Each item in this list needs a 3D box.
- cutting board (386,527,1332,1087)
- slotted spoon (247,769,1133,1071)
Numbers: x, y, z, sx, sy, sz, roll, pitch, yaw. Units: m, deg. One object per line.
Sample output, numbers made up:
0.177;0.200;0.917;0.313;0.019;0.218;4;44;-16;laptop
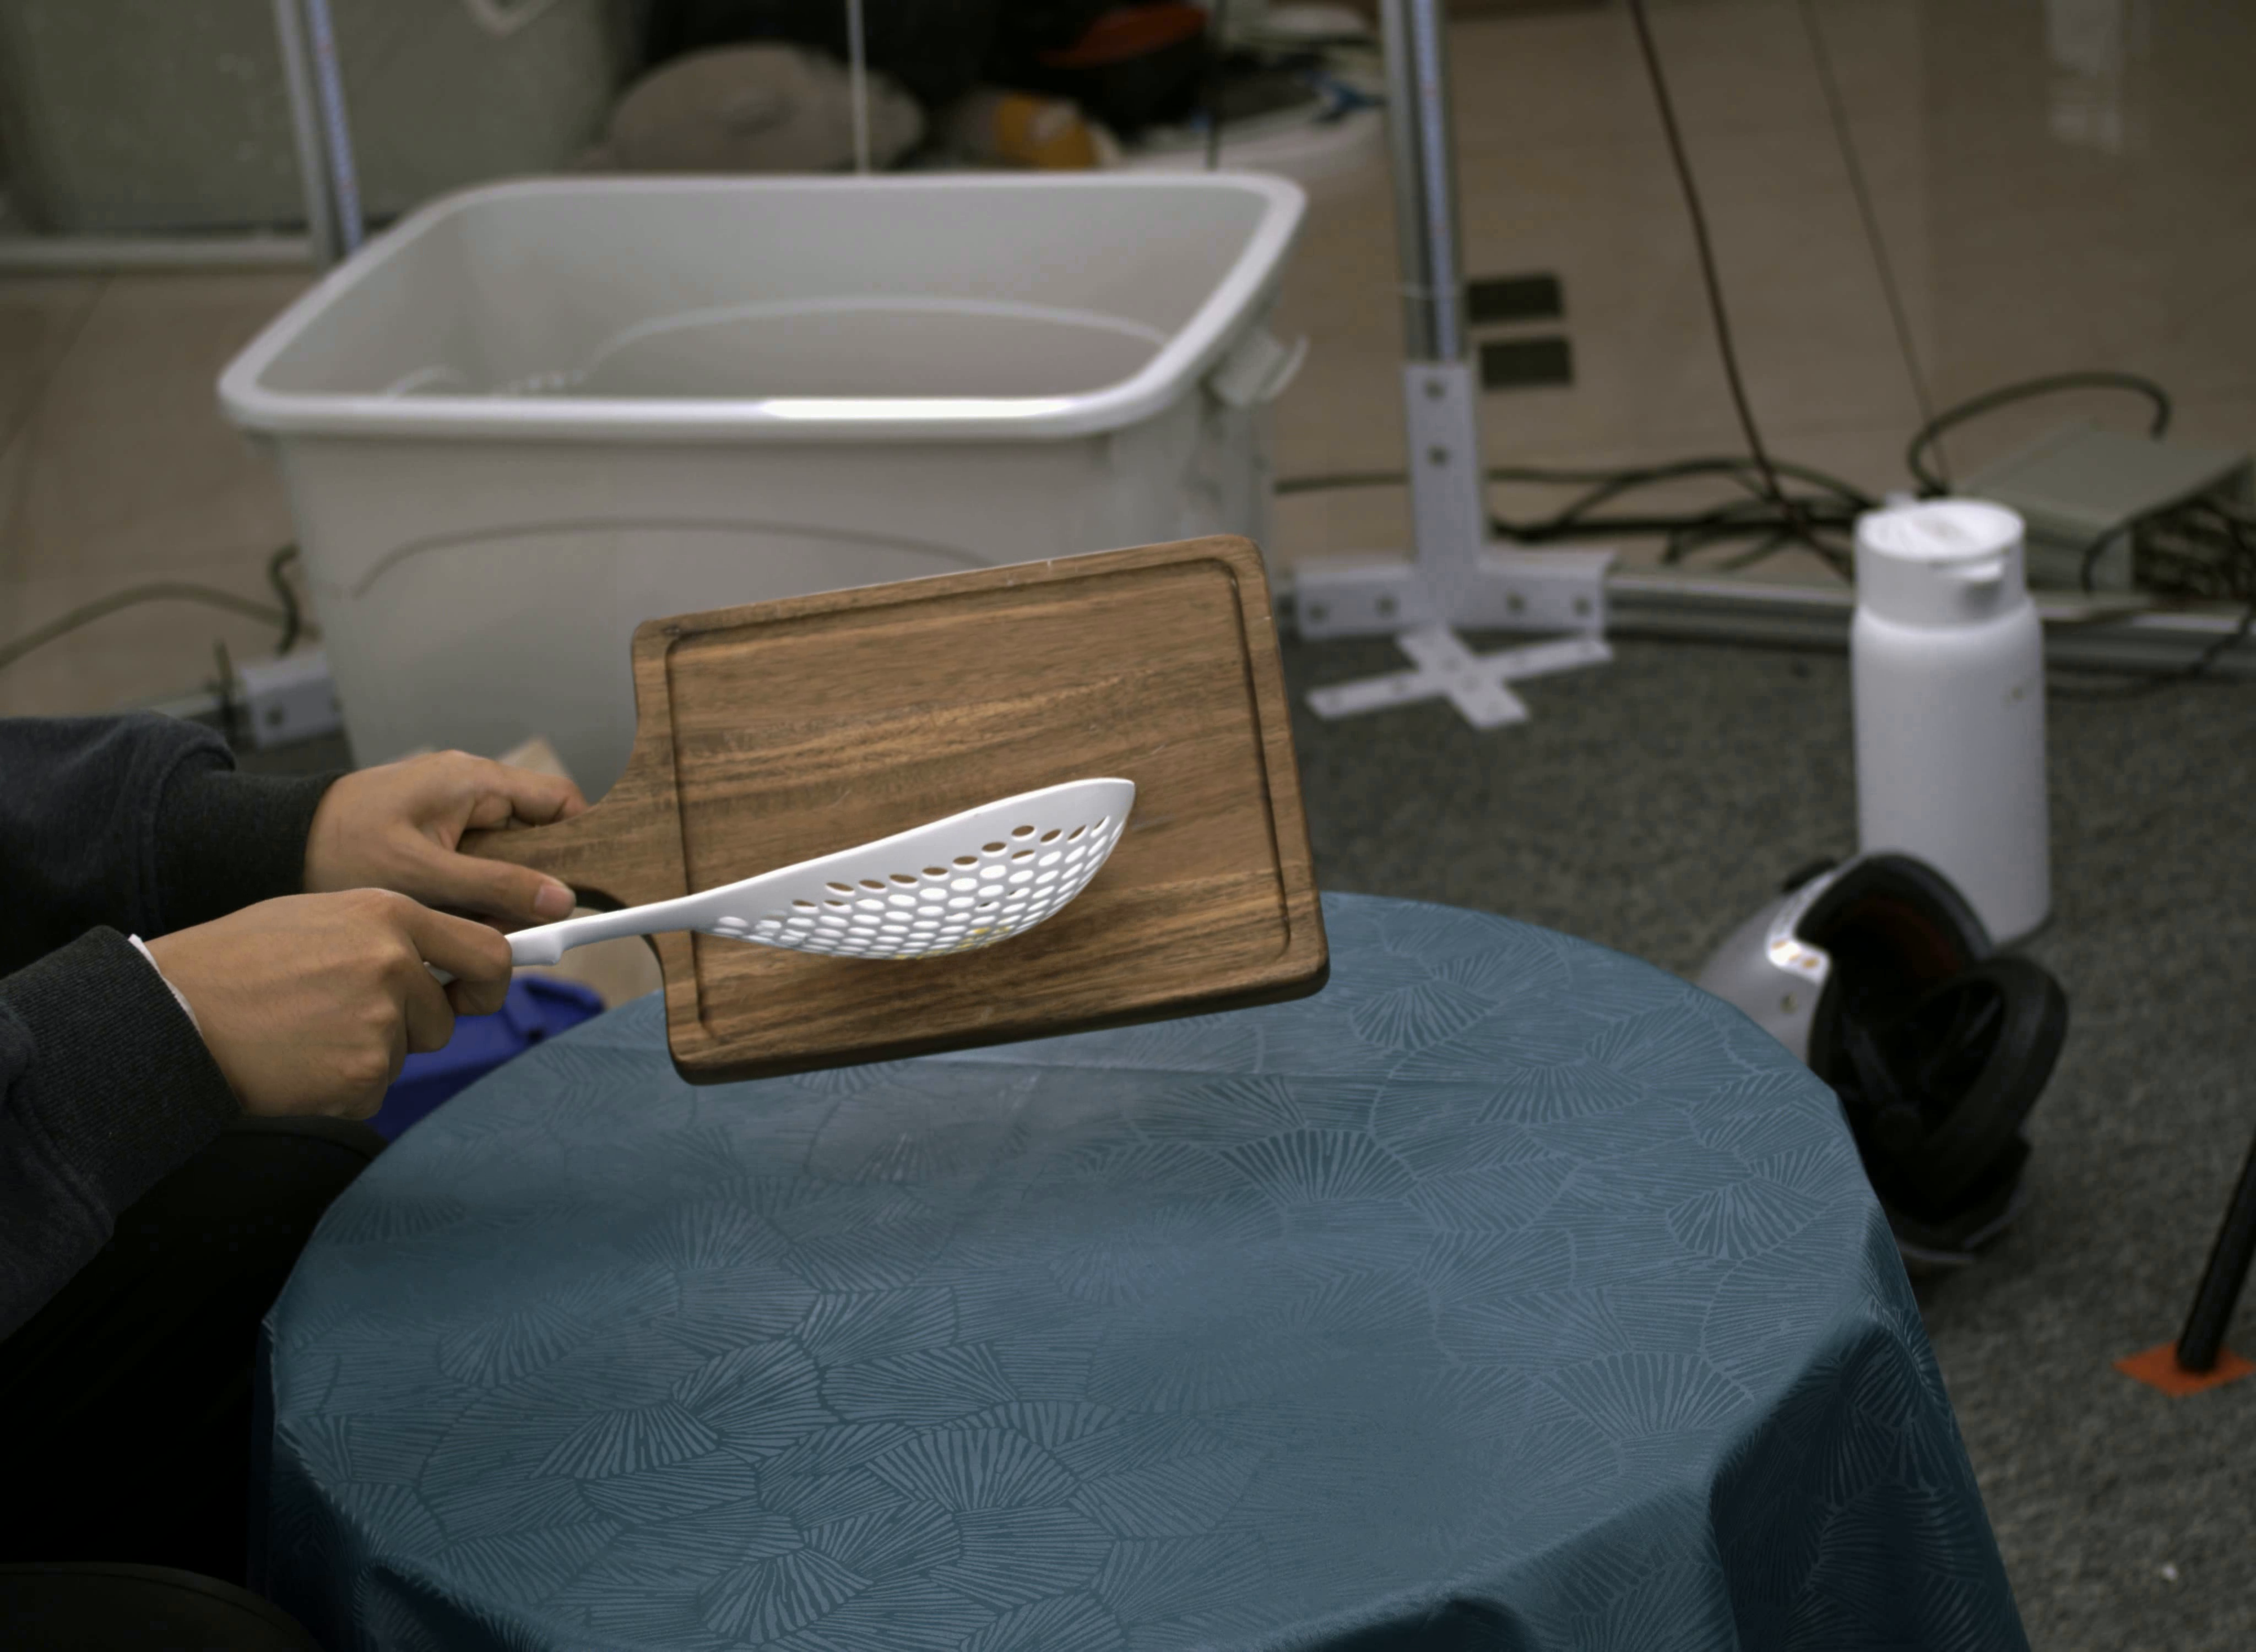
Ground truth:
-0.108;-0.003;2.161;0.351;0.023;0.198;-8;64;0;cutting board
-0.155;0.039;2.024;0.347;0.050;0.138;-8;-12;-26;slotted spoon
